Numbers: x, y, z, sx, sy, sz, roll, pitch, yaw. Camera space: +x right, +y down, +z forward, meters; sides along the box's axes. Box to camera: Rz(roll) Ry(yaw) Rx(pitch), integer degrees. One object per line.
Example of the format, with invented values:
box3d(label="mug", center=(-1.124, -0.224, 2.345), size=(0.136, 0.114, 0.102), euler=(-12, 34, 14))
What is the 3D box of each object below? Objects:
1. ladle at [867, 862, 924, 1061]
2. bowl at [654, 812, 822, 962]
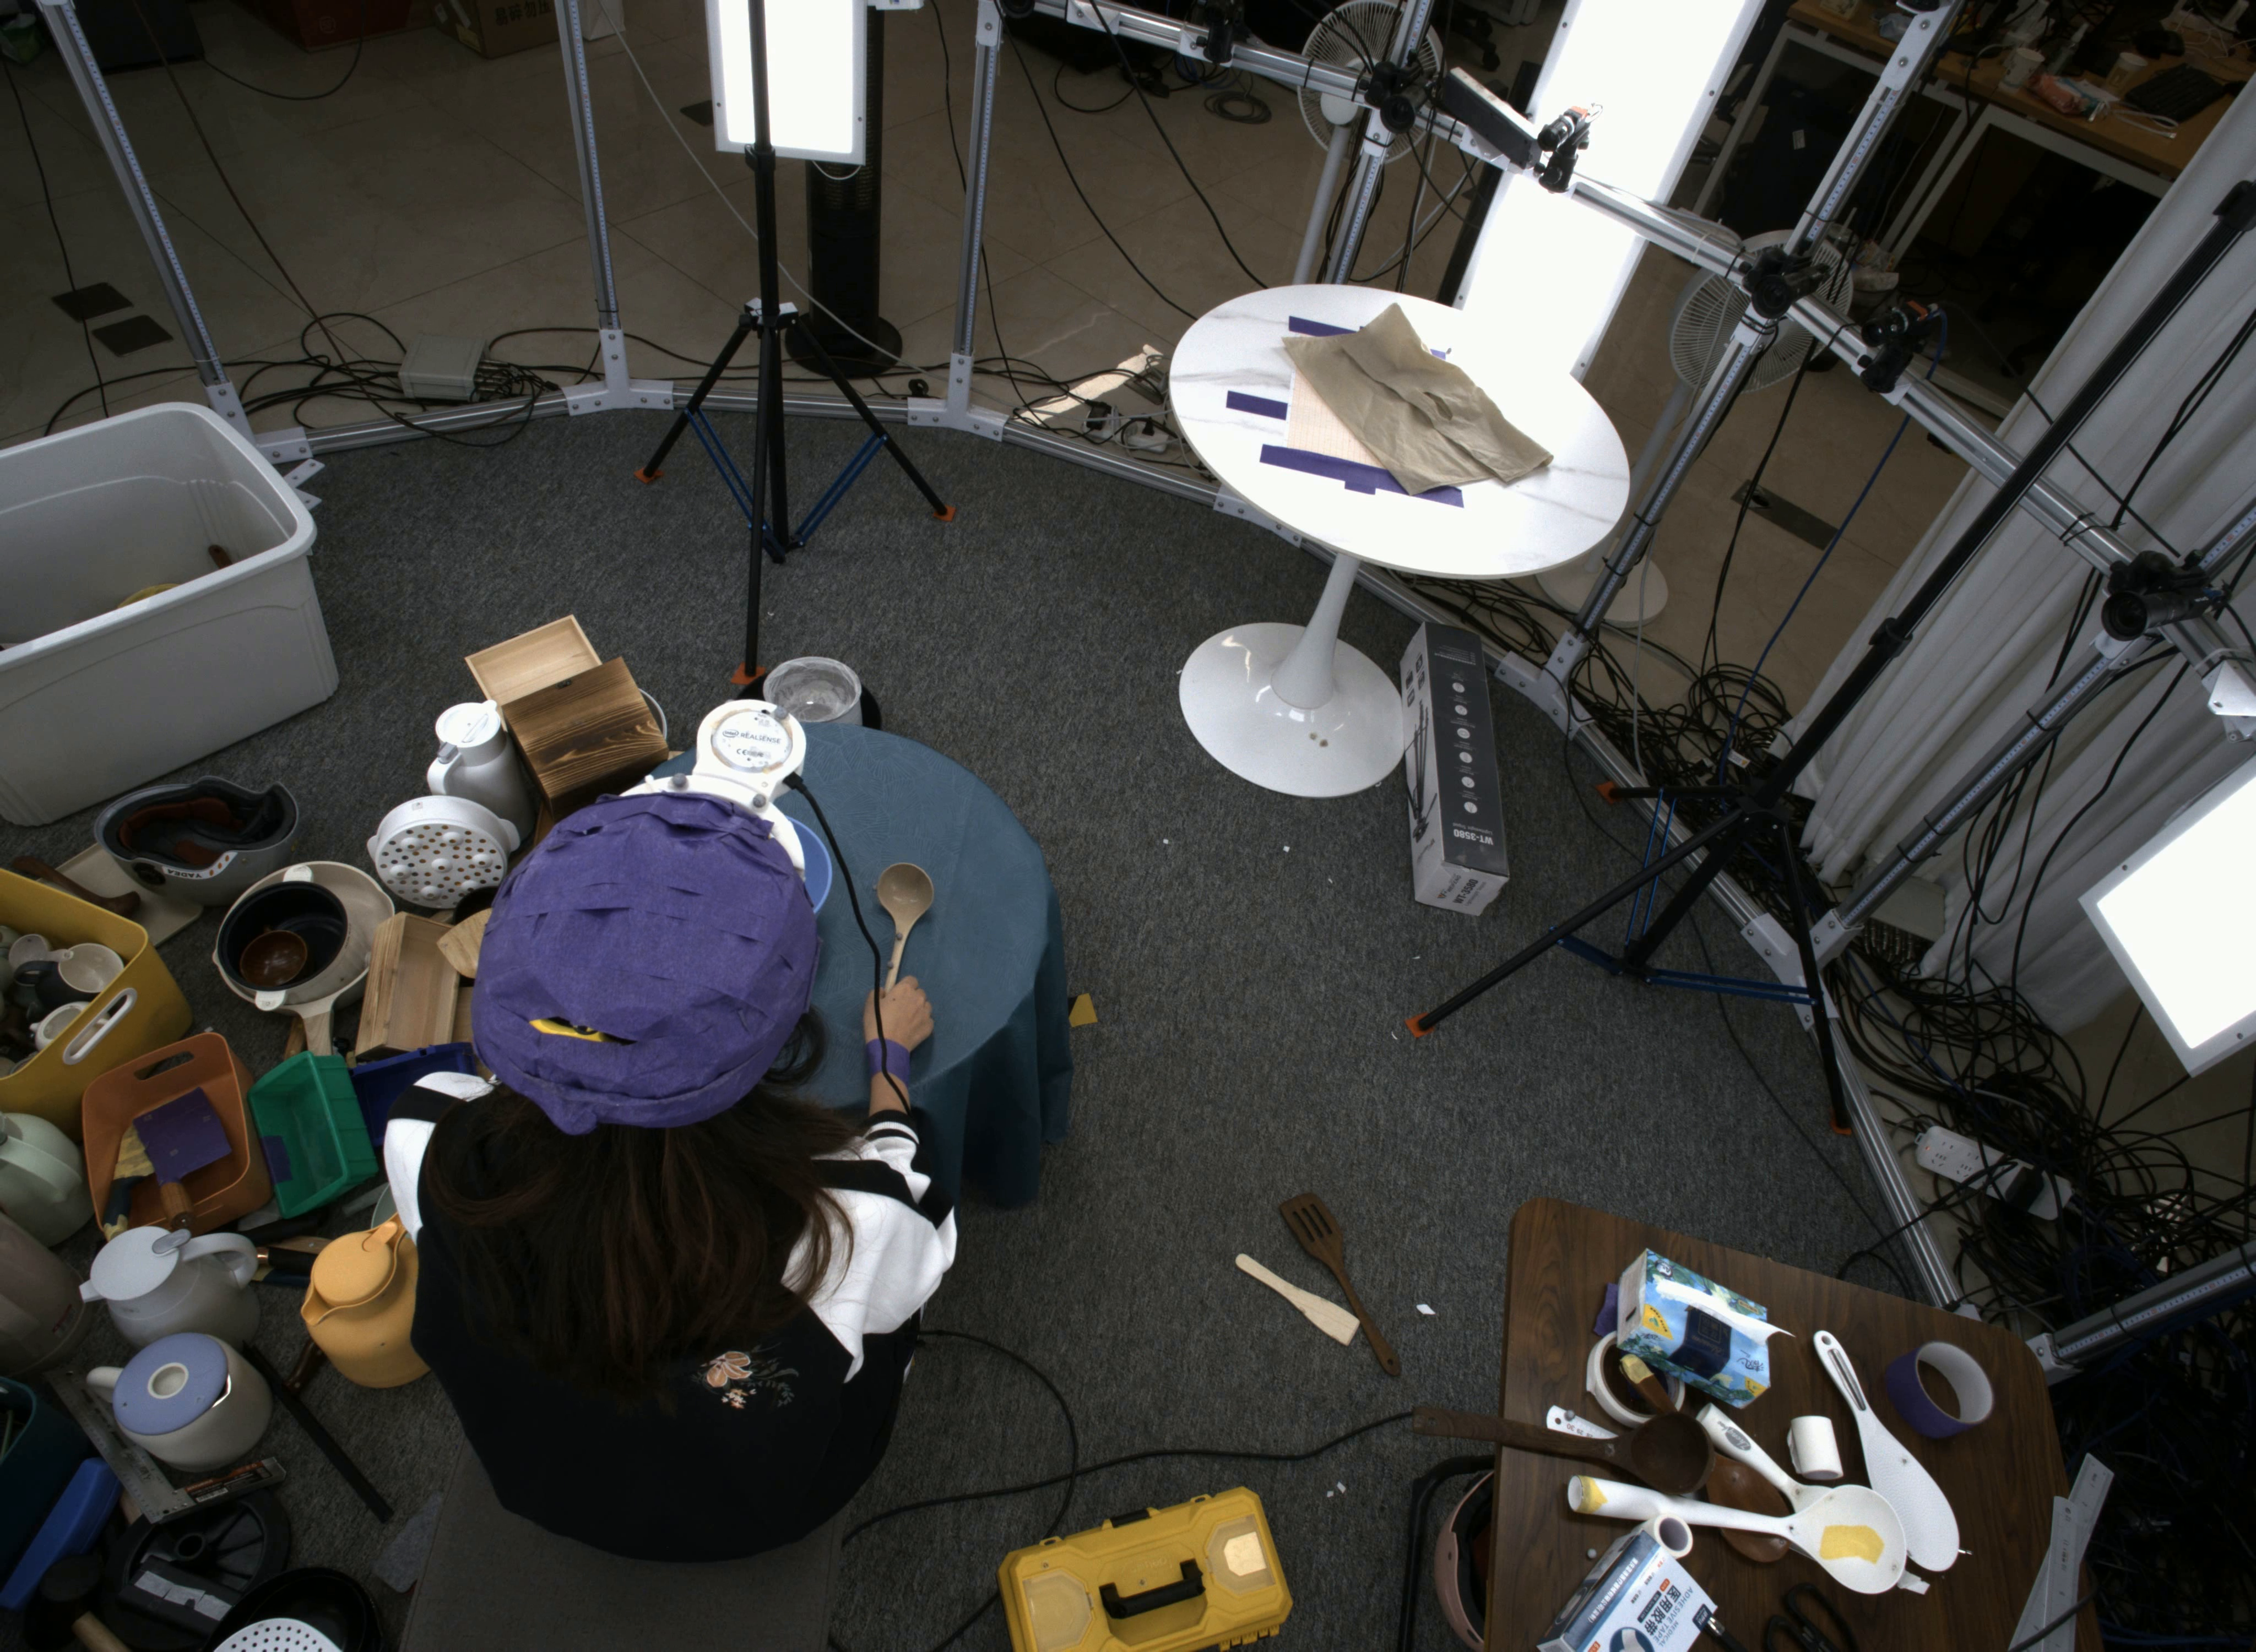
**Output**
box3d(label="ladle", center=(-0.295, 0.154, 1.584), size=(0.071, 0.075, 0.249), euler=(2, 50, -2))
box3d(label="bowl", center=(-0.474, 0.088, 1.583), size=(0.196, 0.097, 0.193), euler=(9, 52, -10))
